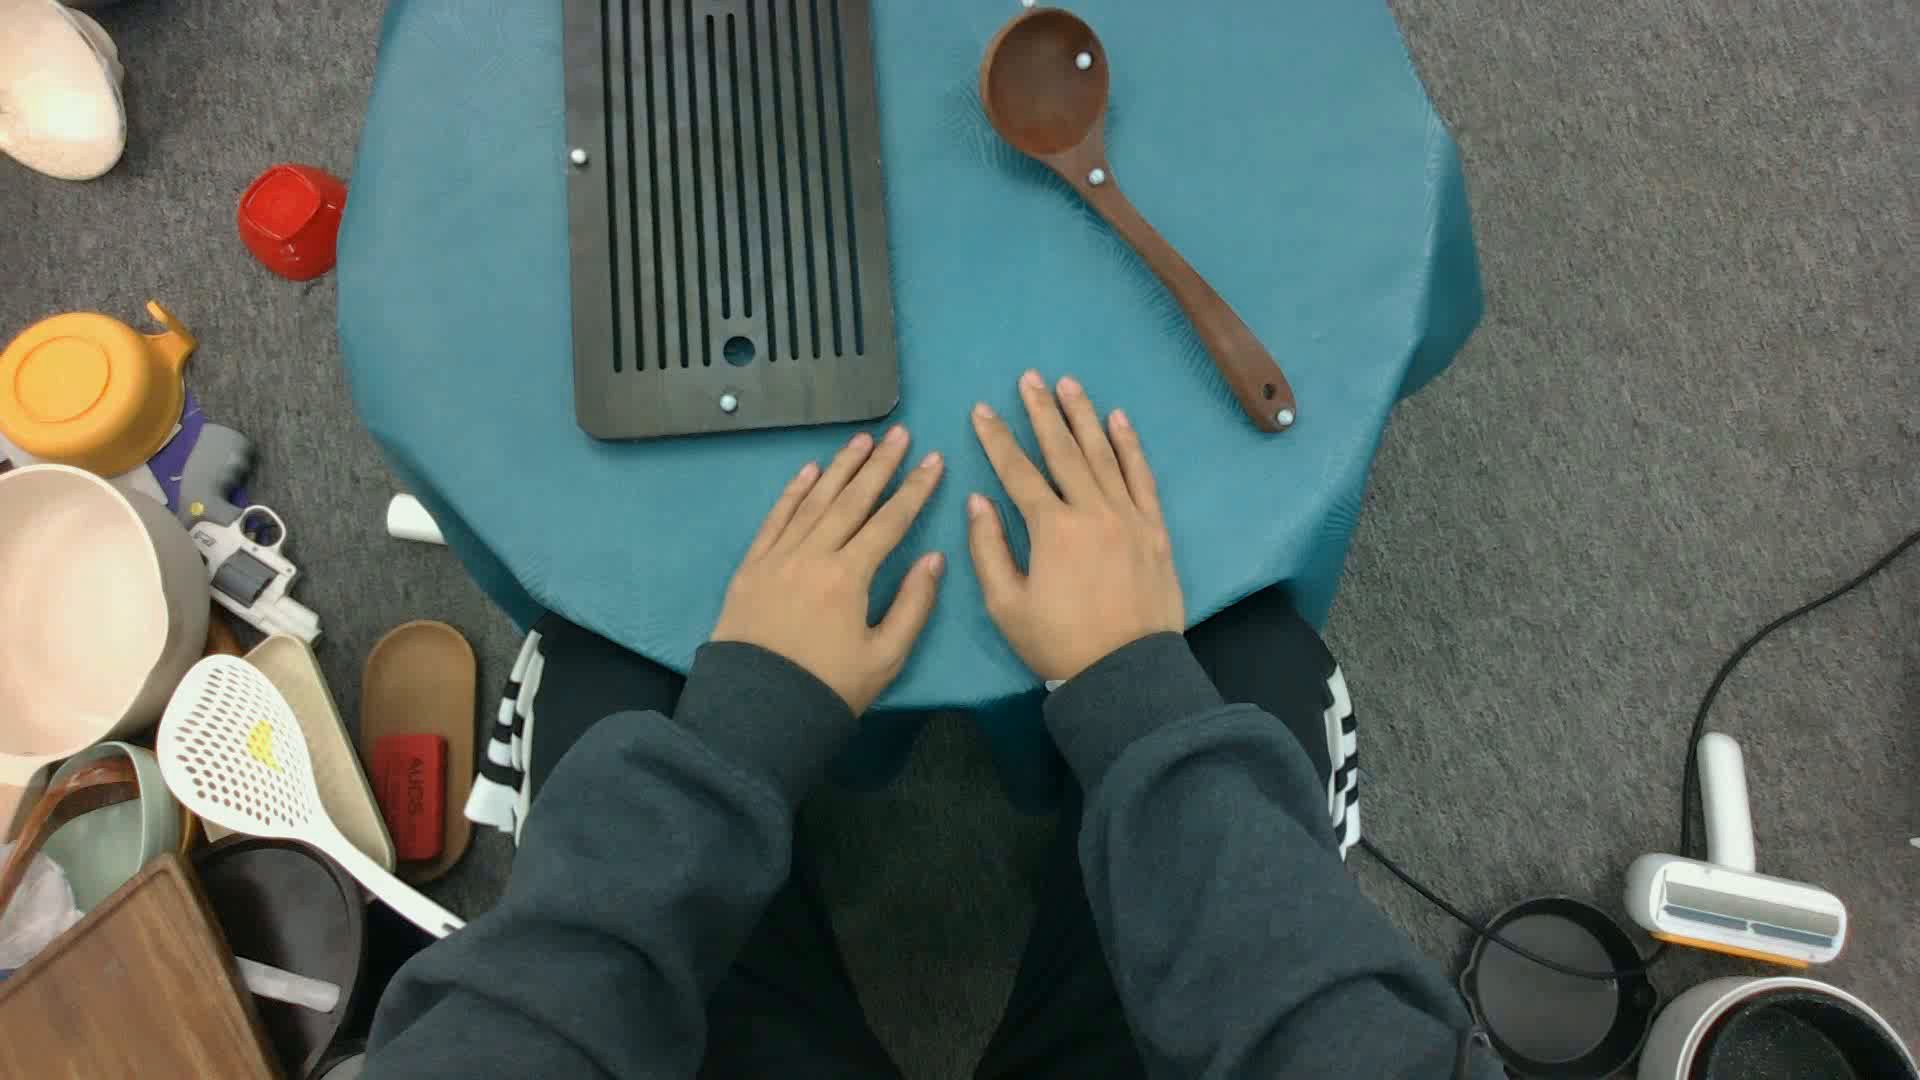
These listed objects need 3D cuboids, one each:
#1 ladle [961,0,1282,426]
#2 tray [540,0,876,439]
[{"bbox_3d":[0.092,-0.172,0.728,0.076,0.065,0.260,-34,80,-8],"label":"ladle"},{"bbox_3d":[-0.141,-0.206,0.754,0.170,0.018,0.306,-5,77,-3],"label":"tray"}]
